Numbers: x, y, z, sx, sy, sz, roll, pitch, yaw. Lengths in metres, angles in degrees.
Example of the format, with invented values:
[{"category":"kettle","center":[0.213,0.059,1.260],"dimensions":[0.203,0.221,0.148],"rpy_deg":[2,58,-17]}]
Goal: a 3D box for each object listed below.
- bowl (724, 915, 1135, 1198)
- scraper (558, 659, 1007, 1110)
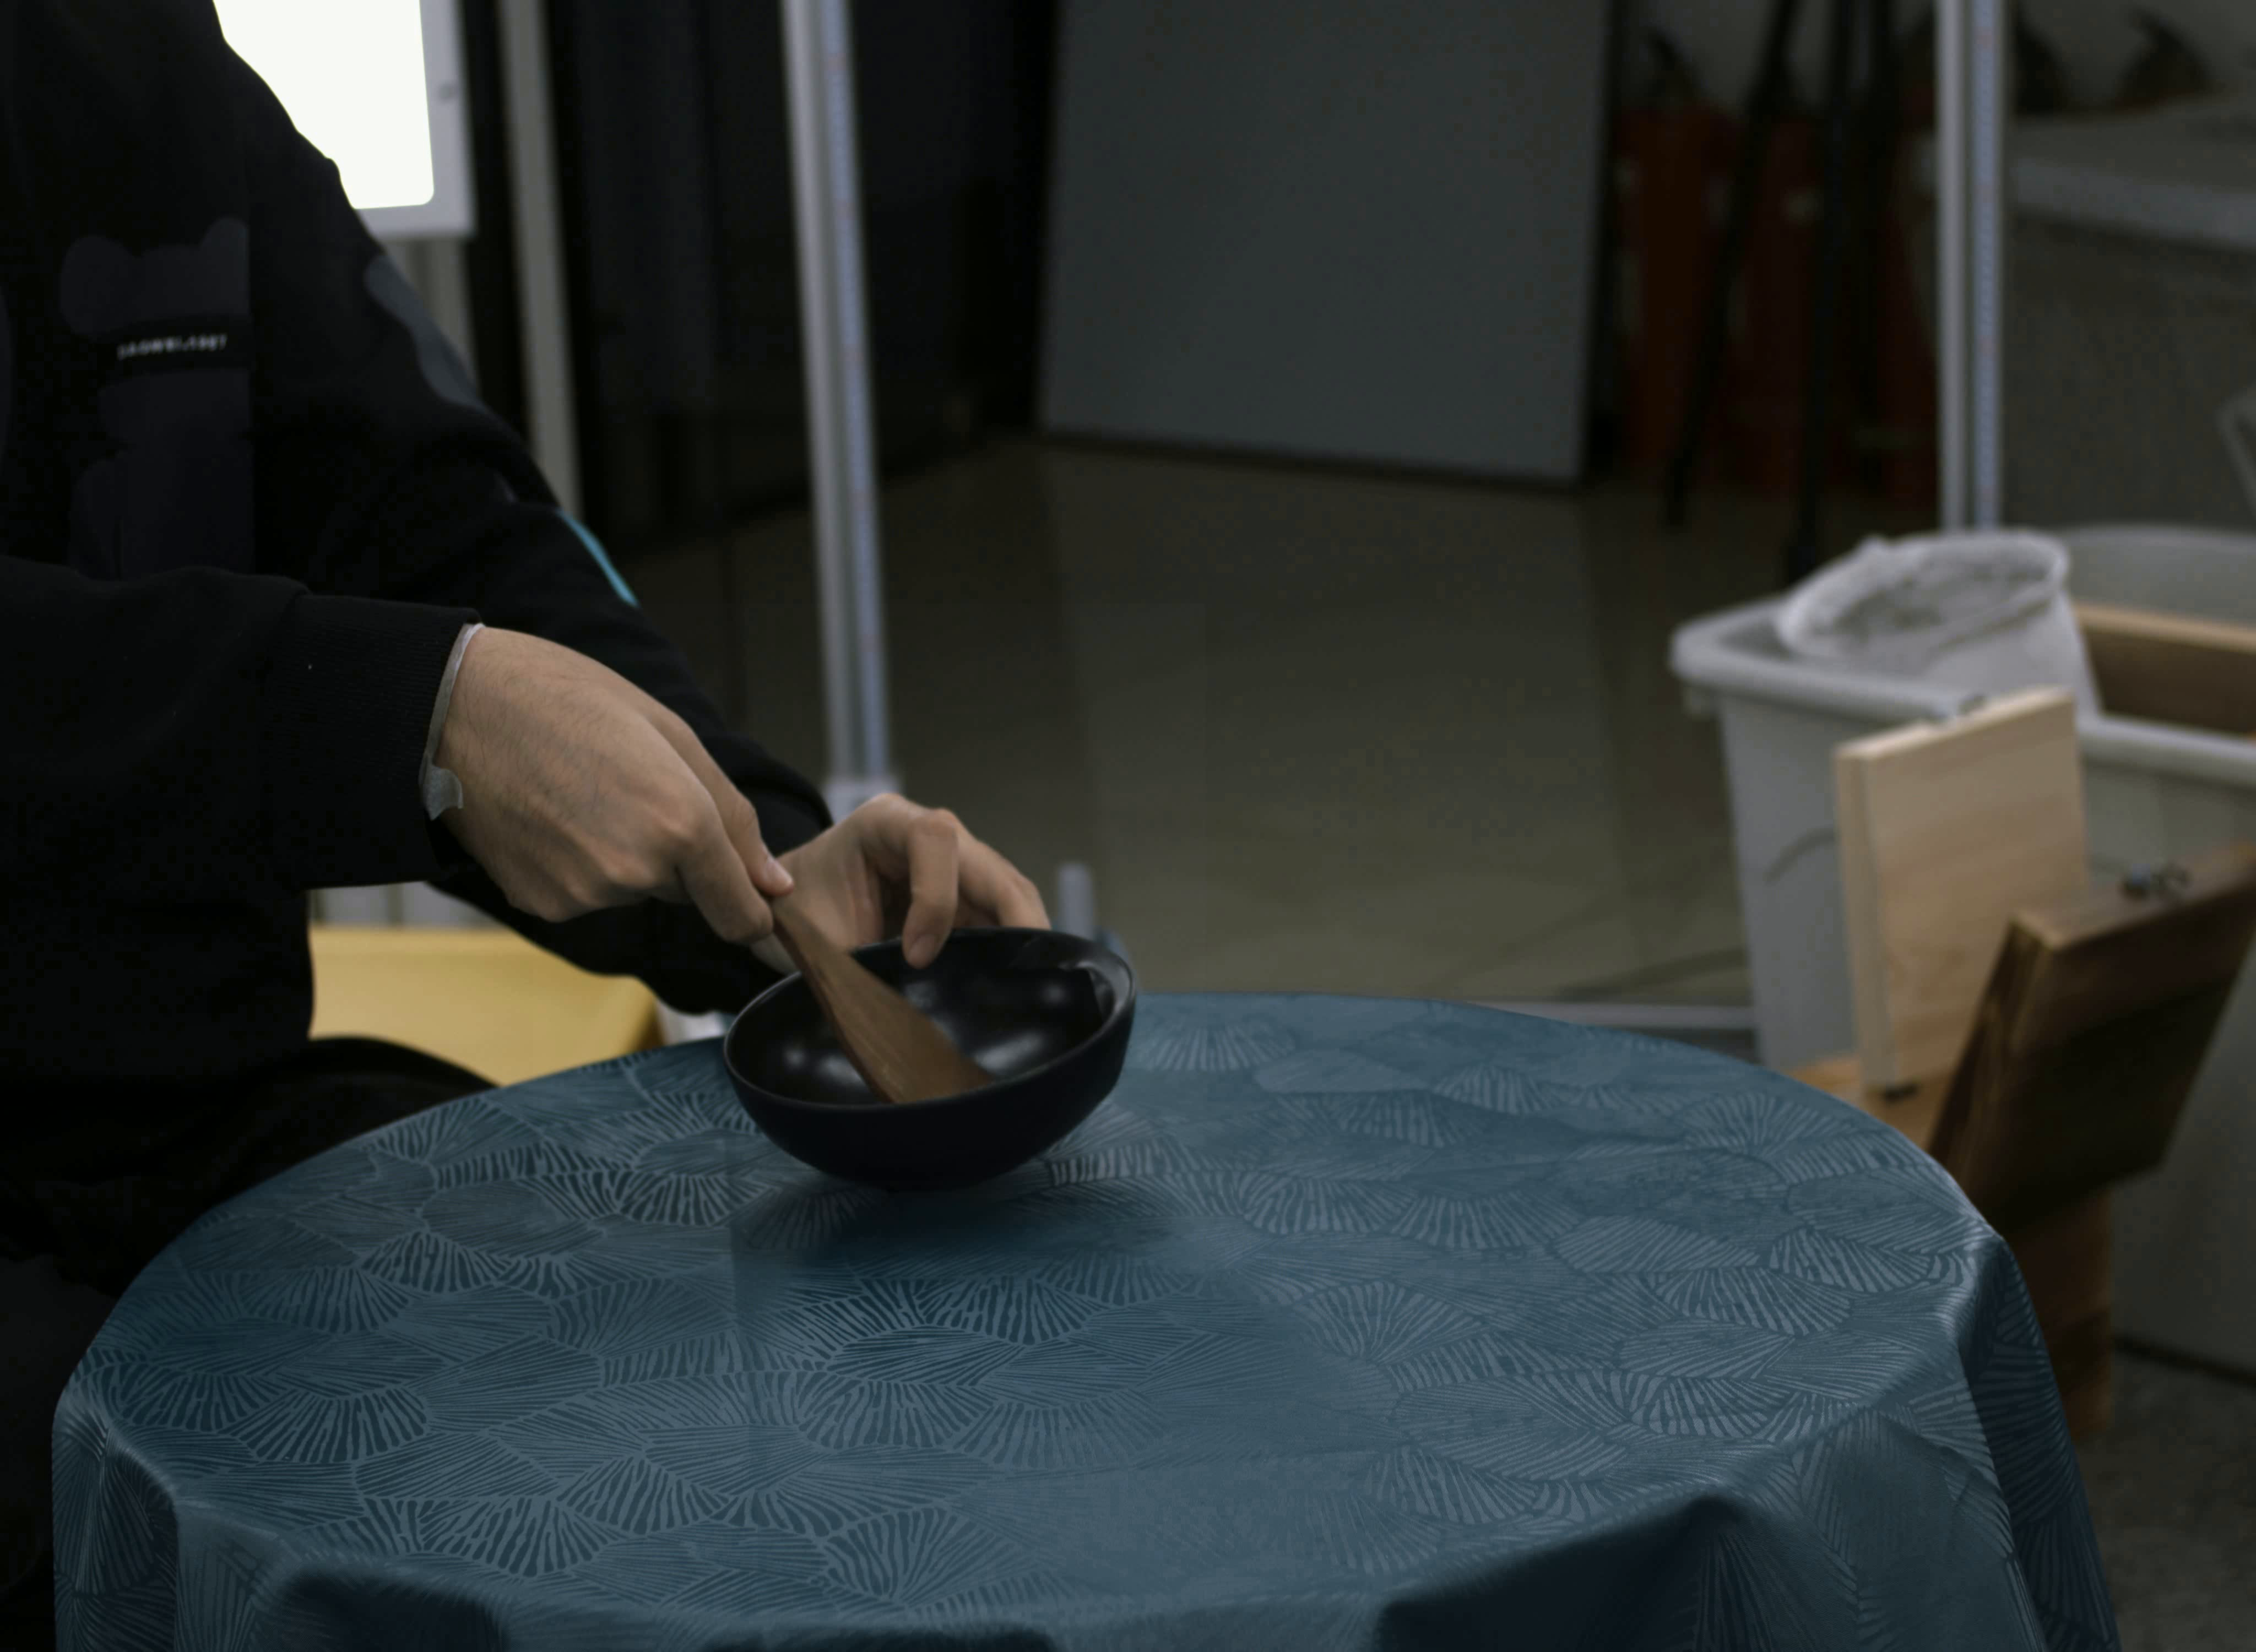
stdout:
[{"category":"bowl","center":[-0.061,0.083,1.775],"dimensions":[0.138,0.050,0.140],"rpy_deg":[-11,24,4]},{"category":"scraper","center":[-0.113,0.026,1.768],"dimensions":[0.011,0.212,0.075],"rpy_deg":[-43,-2,19]}]
